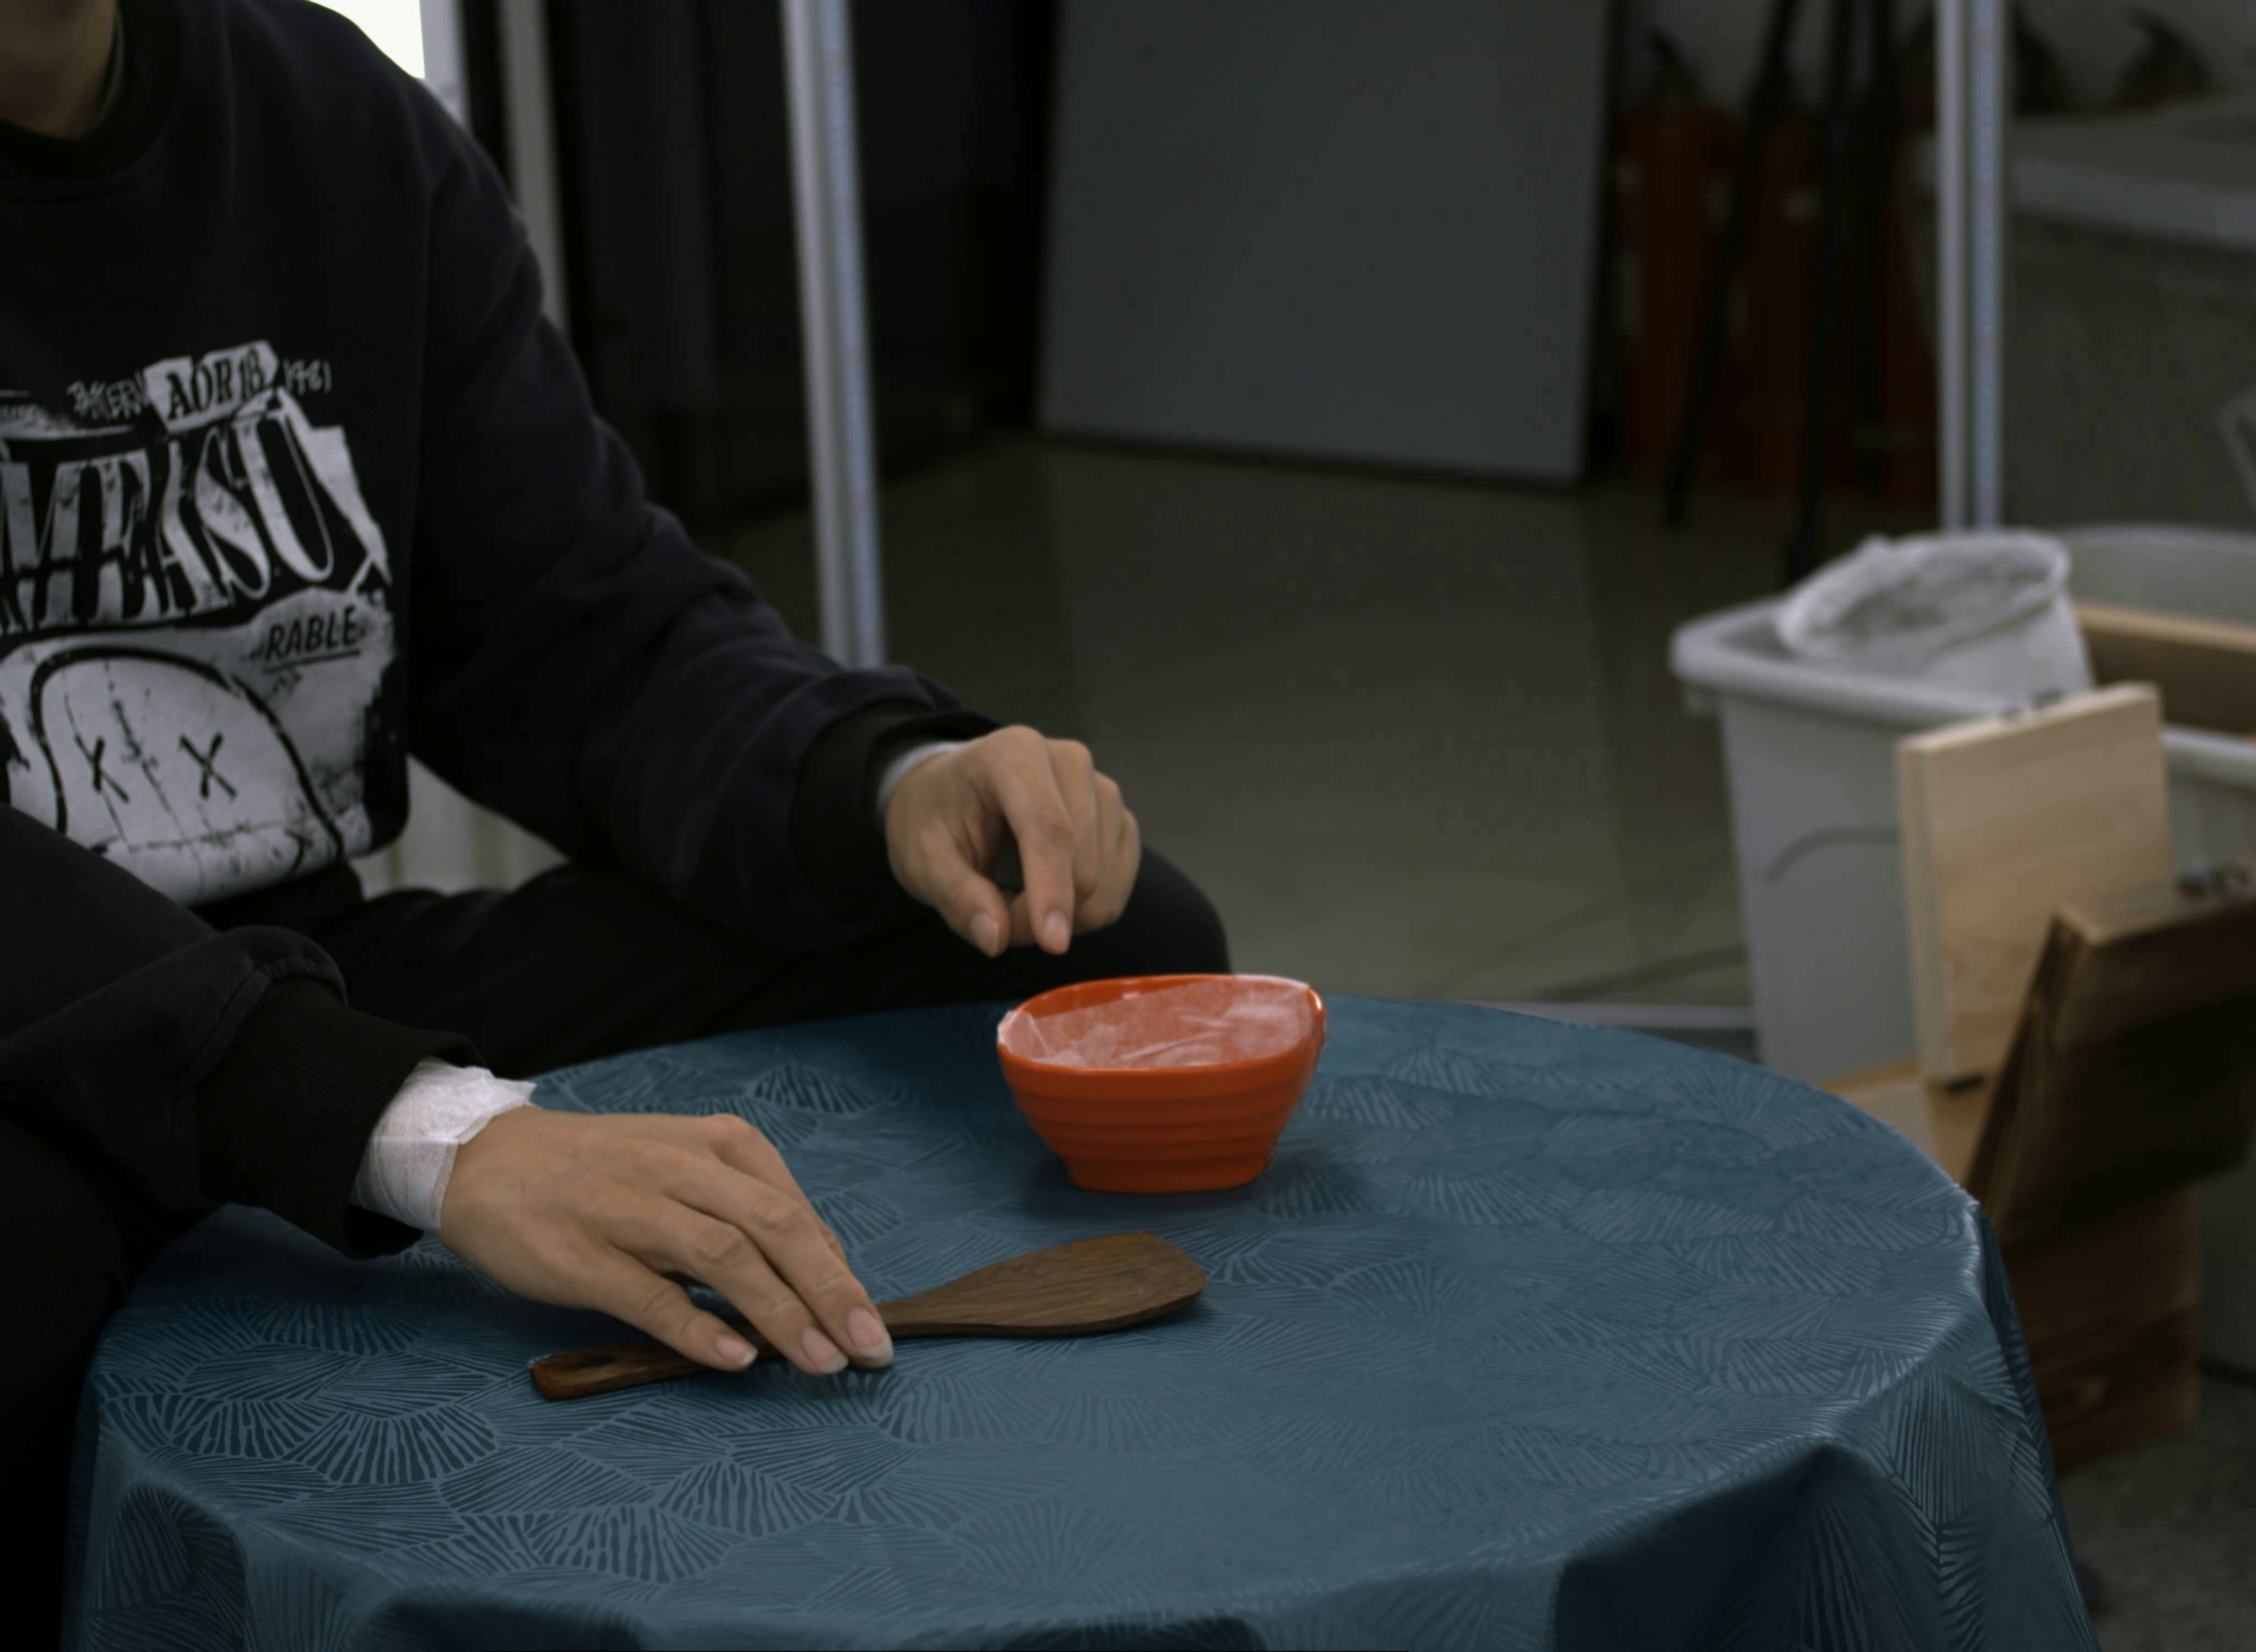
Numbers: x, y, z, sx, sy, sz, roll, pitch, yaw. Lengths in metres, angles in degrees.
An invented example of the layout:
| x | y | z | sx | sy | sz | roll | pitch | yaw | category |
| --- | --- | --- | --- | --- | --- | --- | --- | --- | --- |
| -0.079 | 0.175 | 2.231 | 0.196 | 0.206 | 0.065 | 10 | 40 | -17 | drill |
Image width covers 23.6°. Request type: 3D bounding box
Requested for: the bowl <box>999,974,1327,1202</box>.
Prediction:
| x | y | z | sx | sy | sz | roll | pitch | yaw | category |
| --- | --- | --- | --- | --- | --- | --- | --- | --- | --- |
| 0.013 | 0.090 | 1.792 | 0.117 | 0.052 | 0.119 | -3 | 16 | 0 | bowl |

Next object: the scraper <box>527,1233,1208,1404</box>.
| x | y | z | sx | sy | sz | roll | pitch | yaw | category |
| --- | --- | --- | --- | --- | --- | --- | --- | --- | --- |
| -0.080 | 0.153 | 1.648 | 0.207 | 0.011 | 0.076 | -9 | 13 | -16 | scraper |
